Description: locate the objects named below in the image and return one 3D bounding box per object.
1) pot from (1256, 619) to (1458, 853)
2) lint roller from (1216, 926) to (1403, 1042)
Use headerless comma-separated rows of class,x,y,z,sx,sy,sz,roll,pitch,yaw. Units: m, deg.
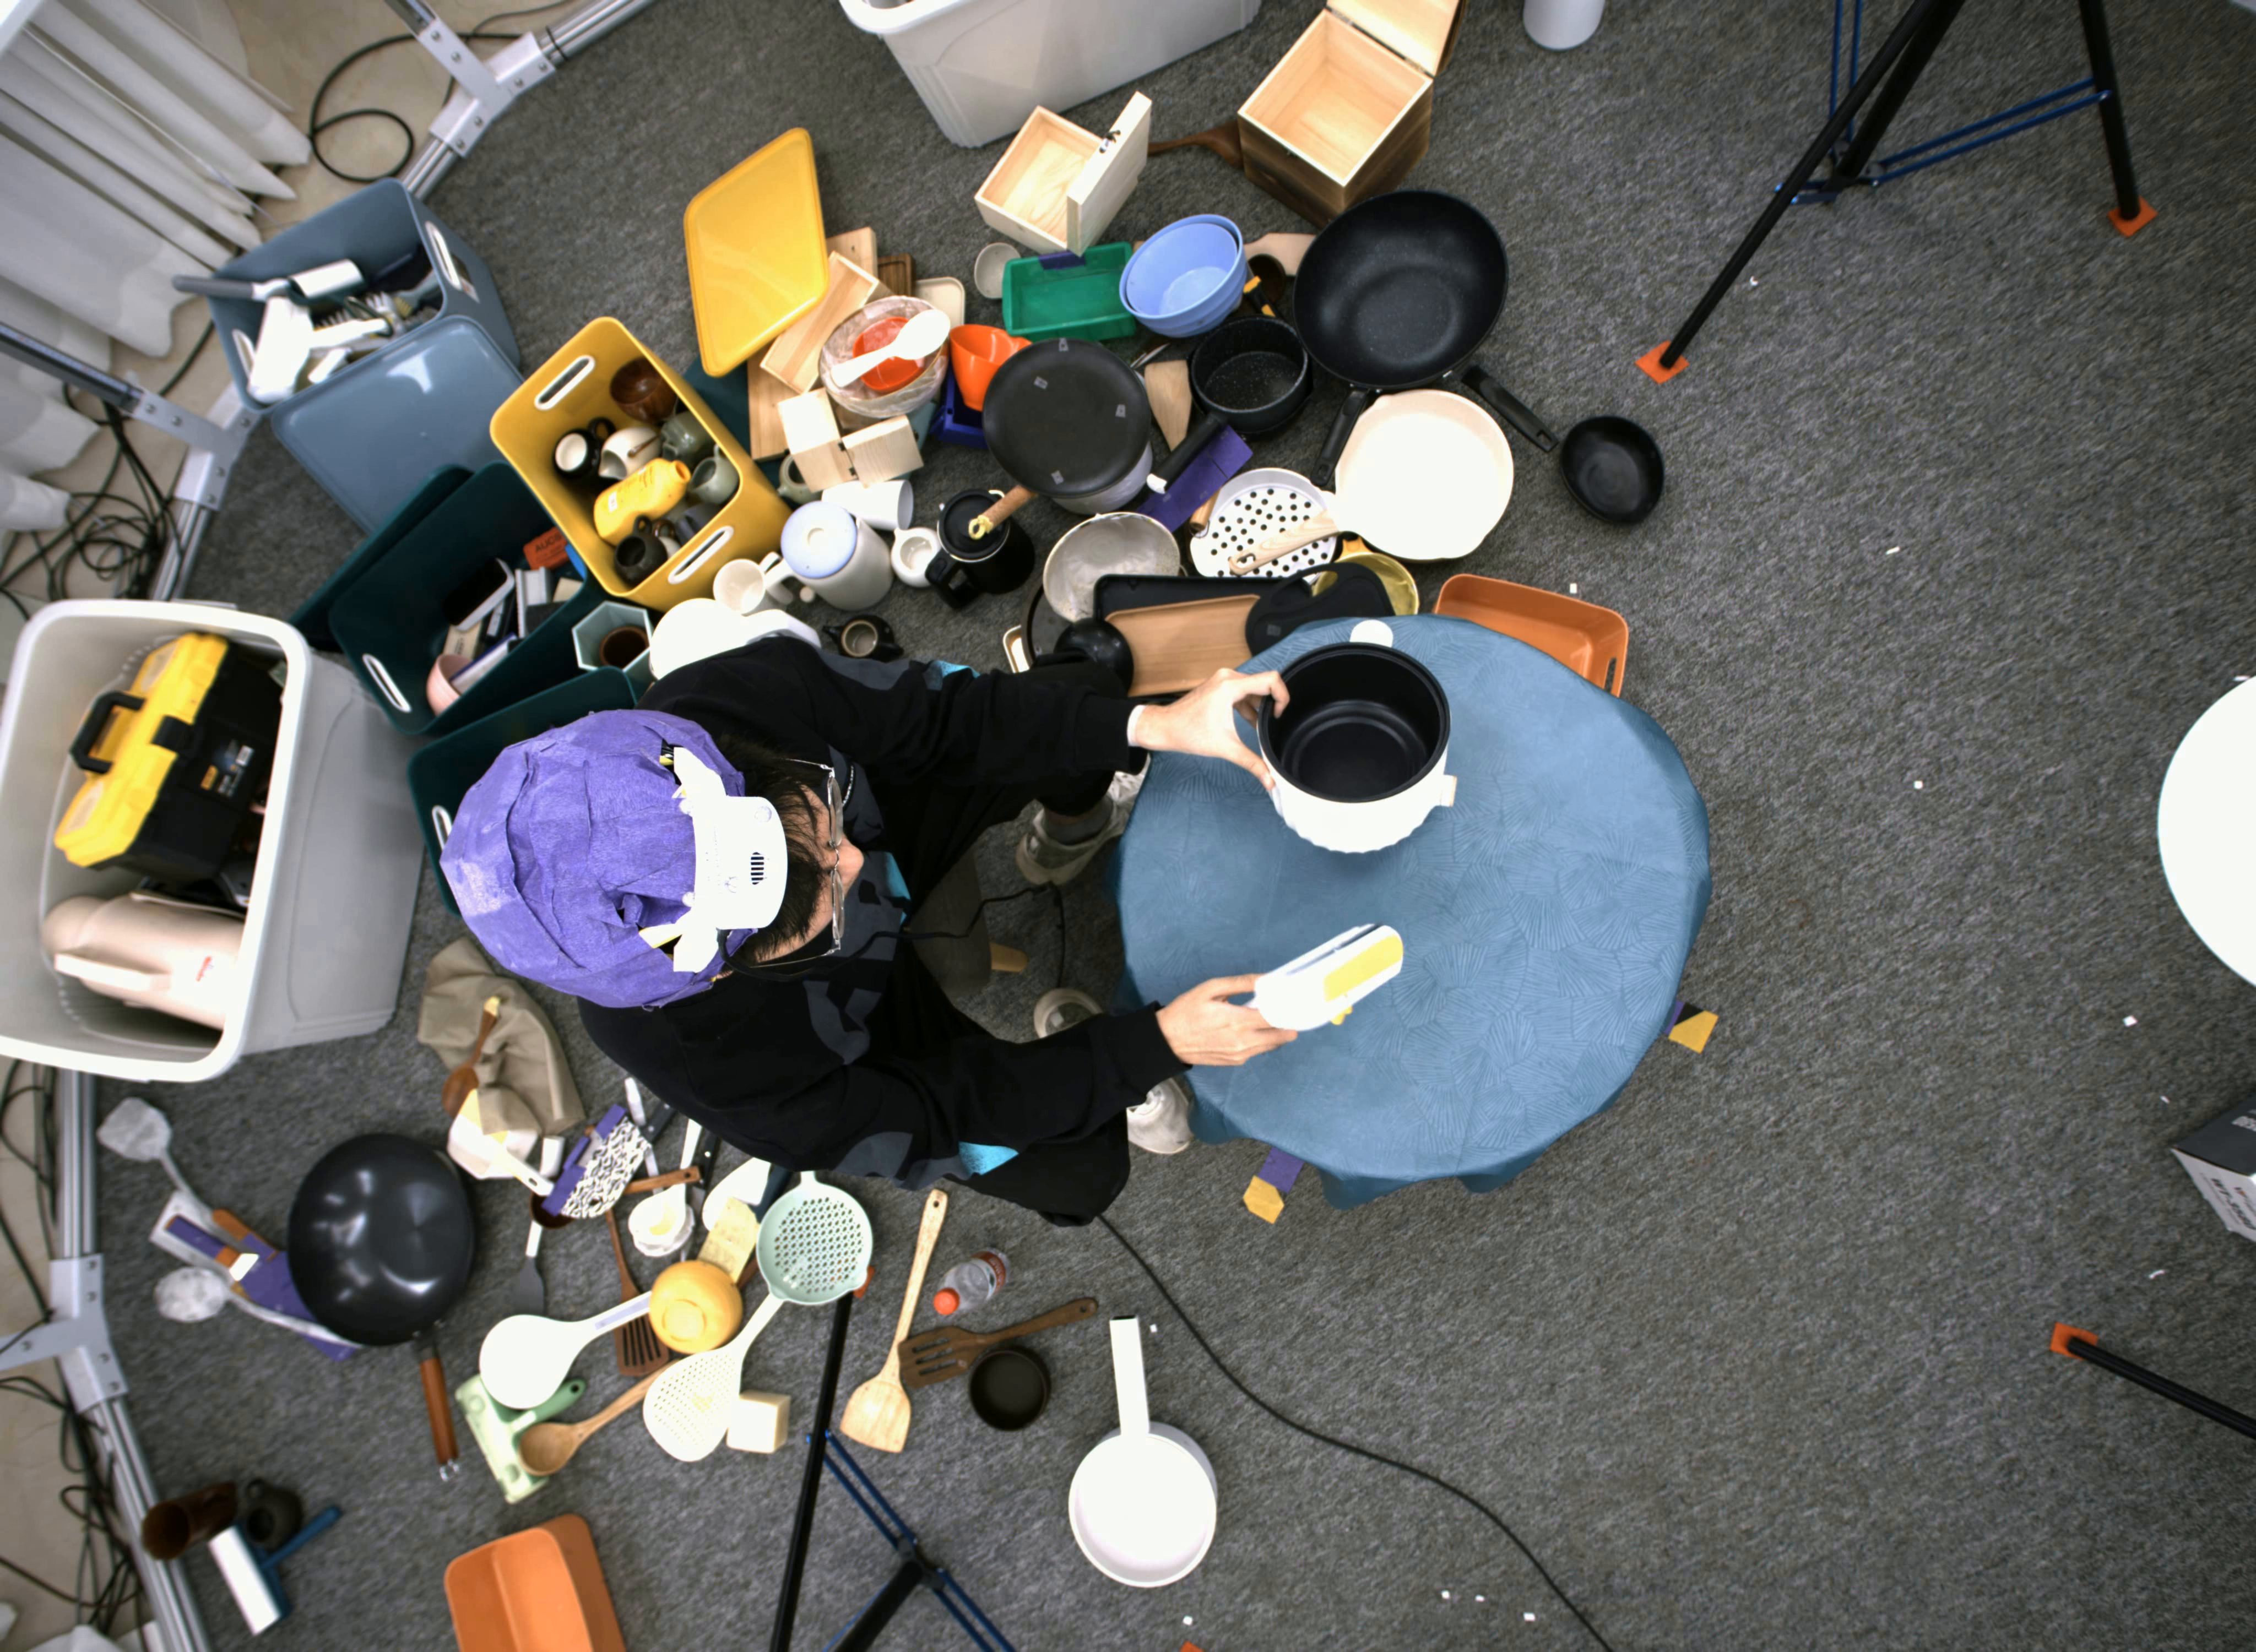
pot,0.226,-0.071,1.346,0.191,0.145,0.235,8,66,17
lint roller,0.152,0.162,1.324,0.195,0.189,0.074,-19,99,44
